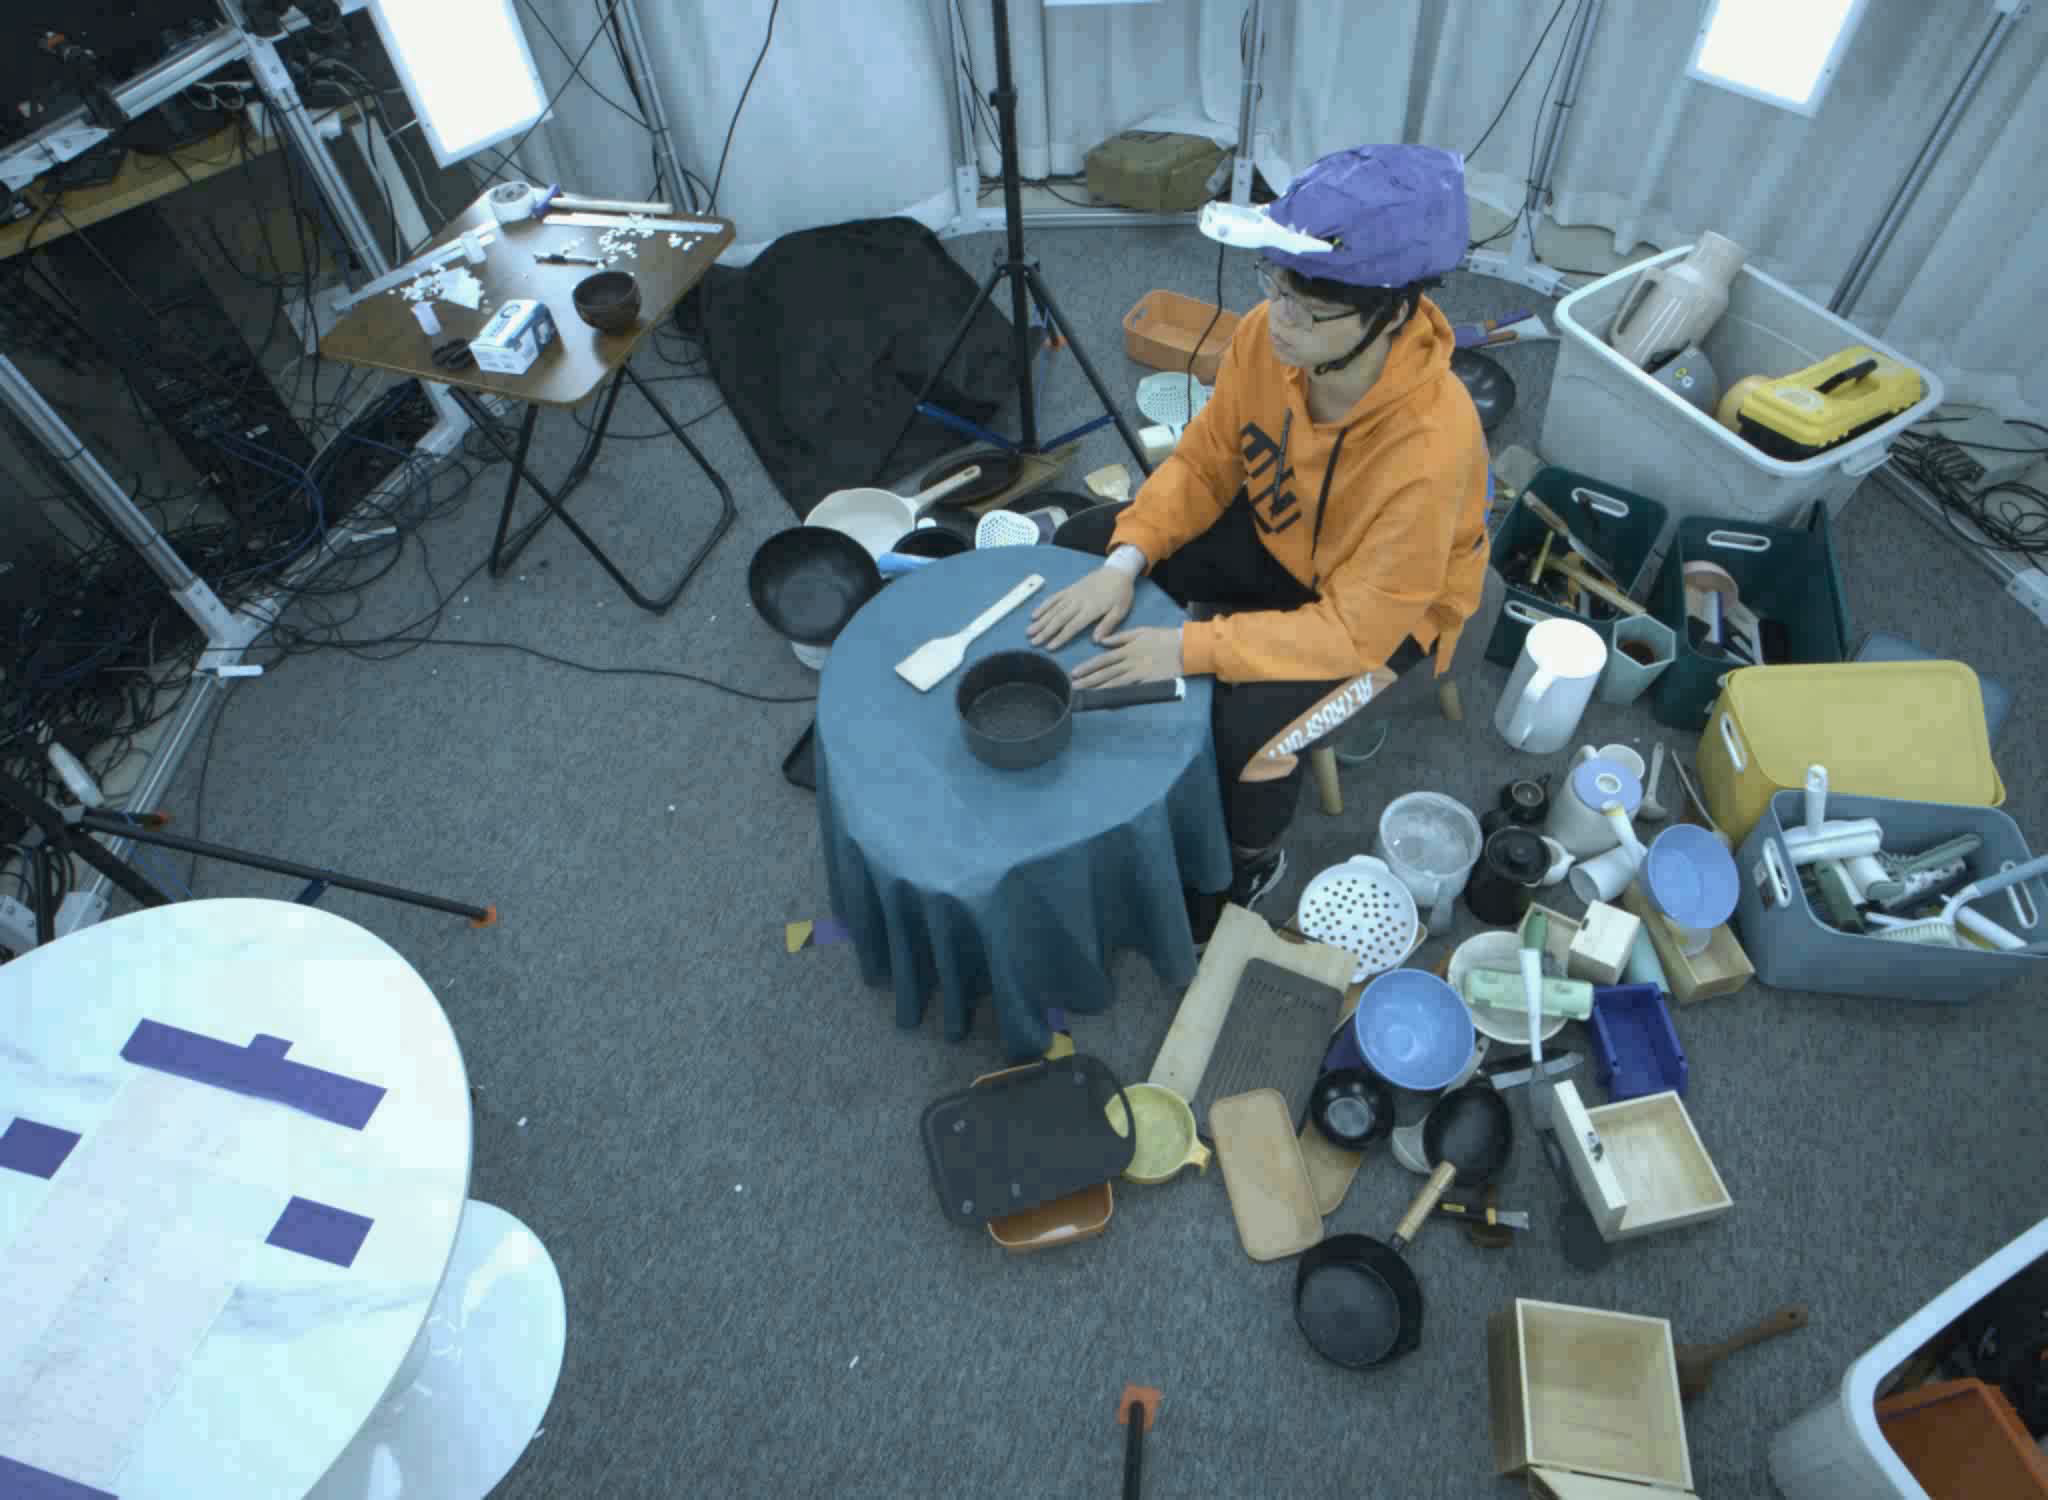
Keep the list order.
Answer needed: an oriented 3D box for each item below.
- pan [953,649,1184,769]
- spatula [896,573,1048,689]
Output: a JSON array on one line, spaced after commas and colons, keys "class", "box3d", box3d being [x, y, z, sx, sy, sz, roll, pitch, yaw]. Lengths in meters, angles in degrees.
[{"class": "pan", "box3d": [0.066, -0.060, 1.775, 0.328, 0.087, 0.170, 0, 55, 4]}, {"class": "spatula", "box3d": [-0.073, -0.194, 1.921, 0.071, 0.011, 0.295, 37, 63, 28]}]
